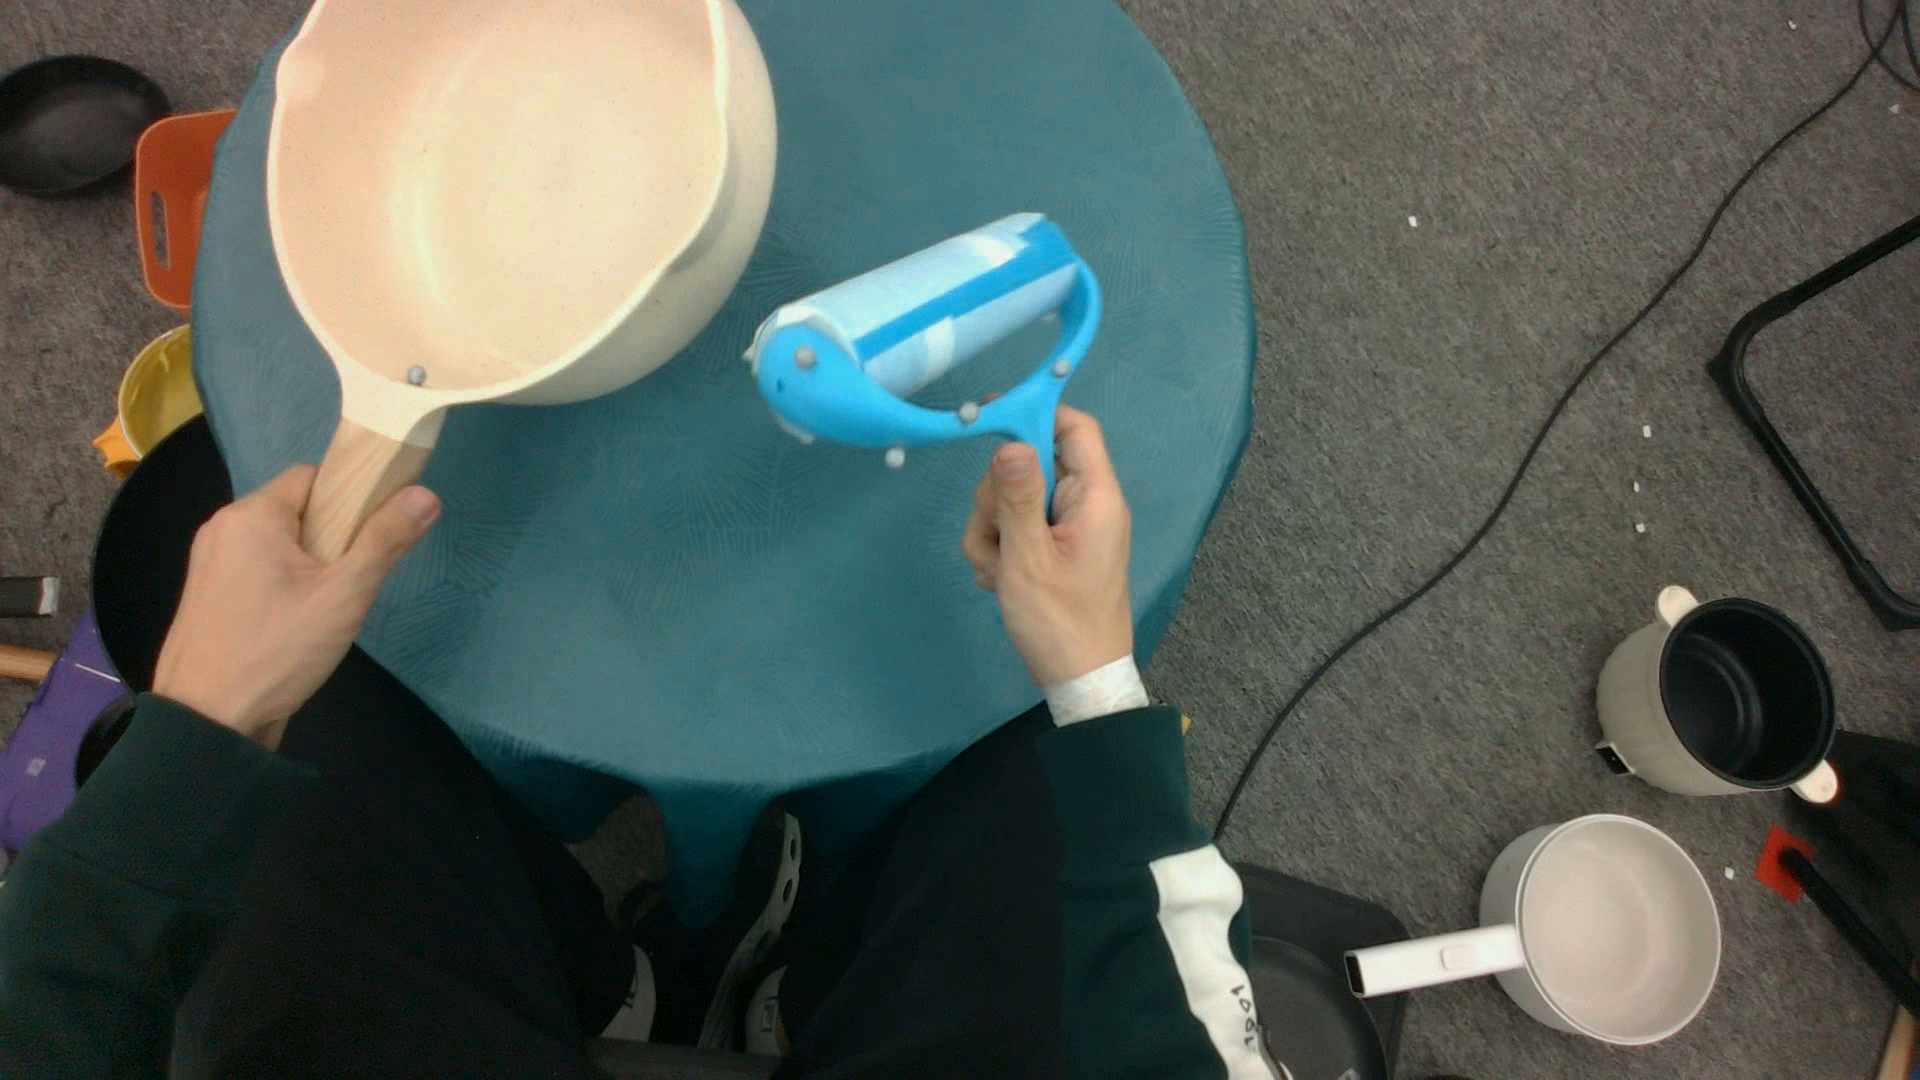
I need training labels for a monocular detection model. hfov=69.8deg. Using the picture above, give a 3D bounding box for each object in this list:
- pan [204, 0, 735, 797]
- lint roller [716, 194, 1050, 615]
[{"bbox_3d":[-0.243,-0.095,0.632,0.263,0.102,0.434,18,93,24],"label":"pan"},{"bbox_3d":[-0.005,-0.052,0.622,0.180,0.067,0.230,62,33,-17],"label":"lint roller"}]
